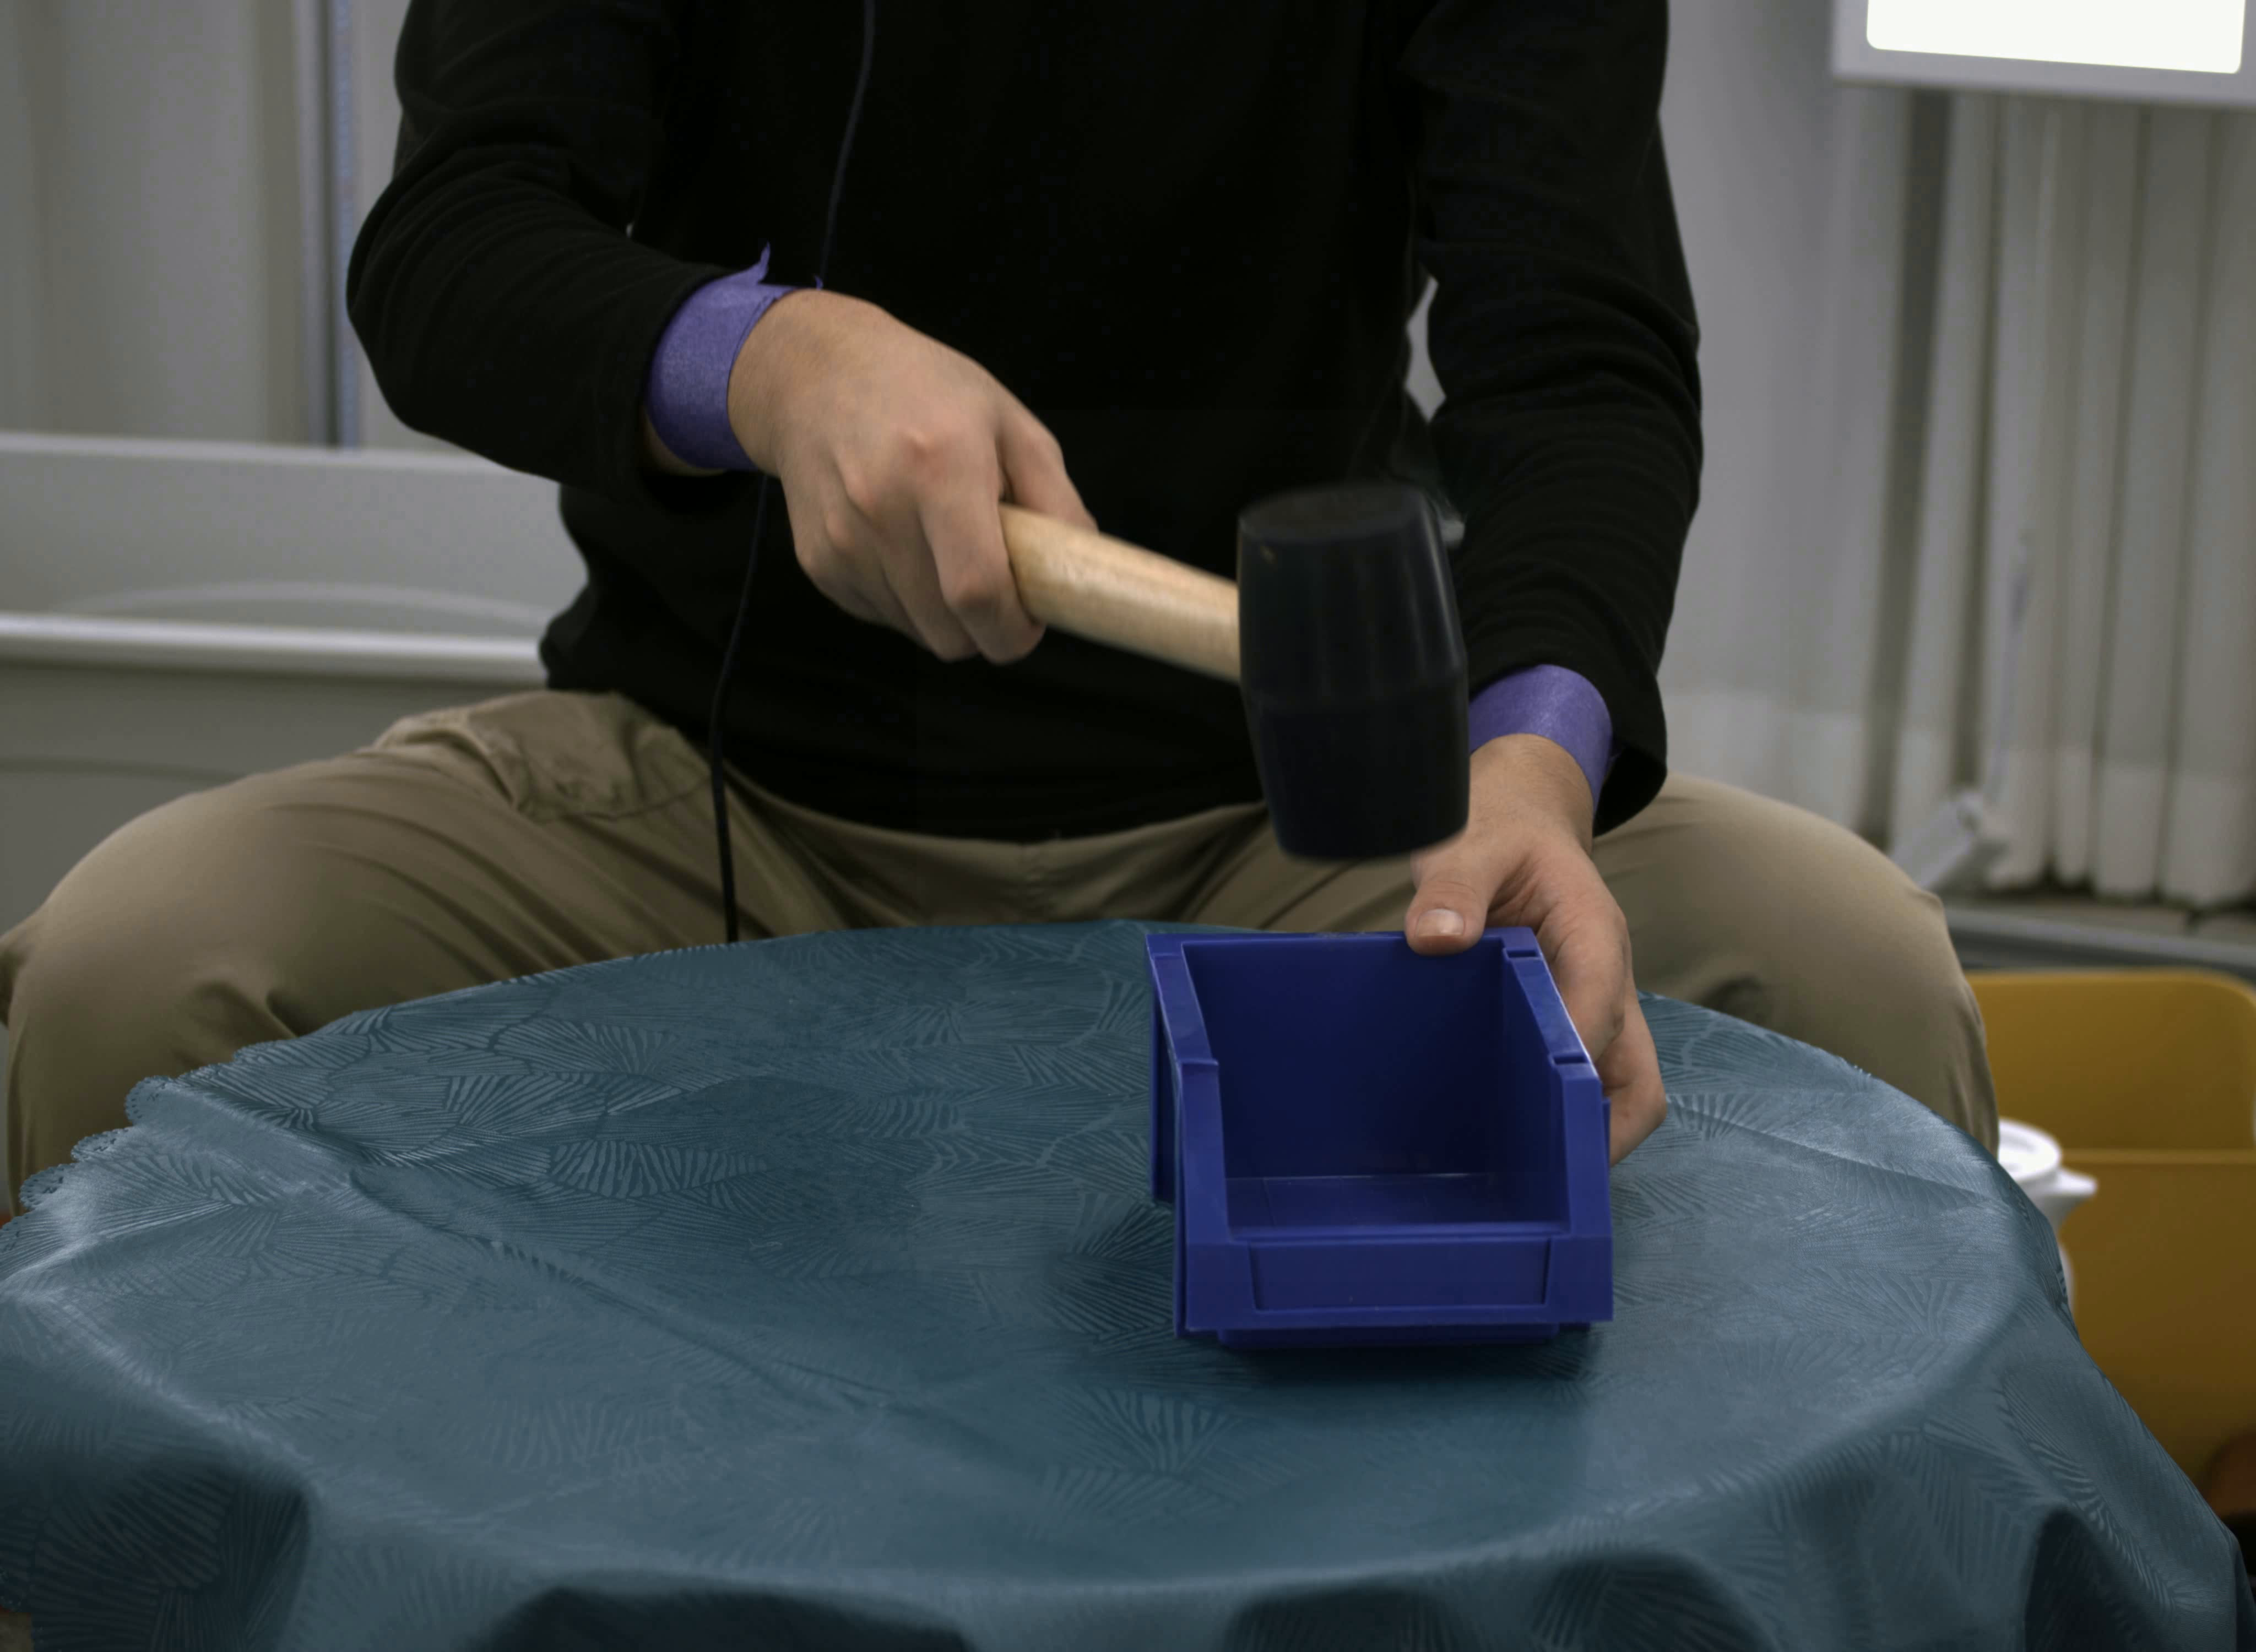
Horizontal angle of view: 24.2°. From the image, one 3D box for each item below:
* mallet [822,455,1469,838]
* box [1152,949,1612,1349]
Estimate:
[{"bbox_3d":[0.001,-0.078,1.592,0.064,0.103,0.335,-13,17,-25],"label":"mallet"},{"bbox_3d":[0.073,0.096,1.532,0.124,0.082,0.178,0,12,-3],"label":"box"}]
